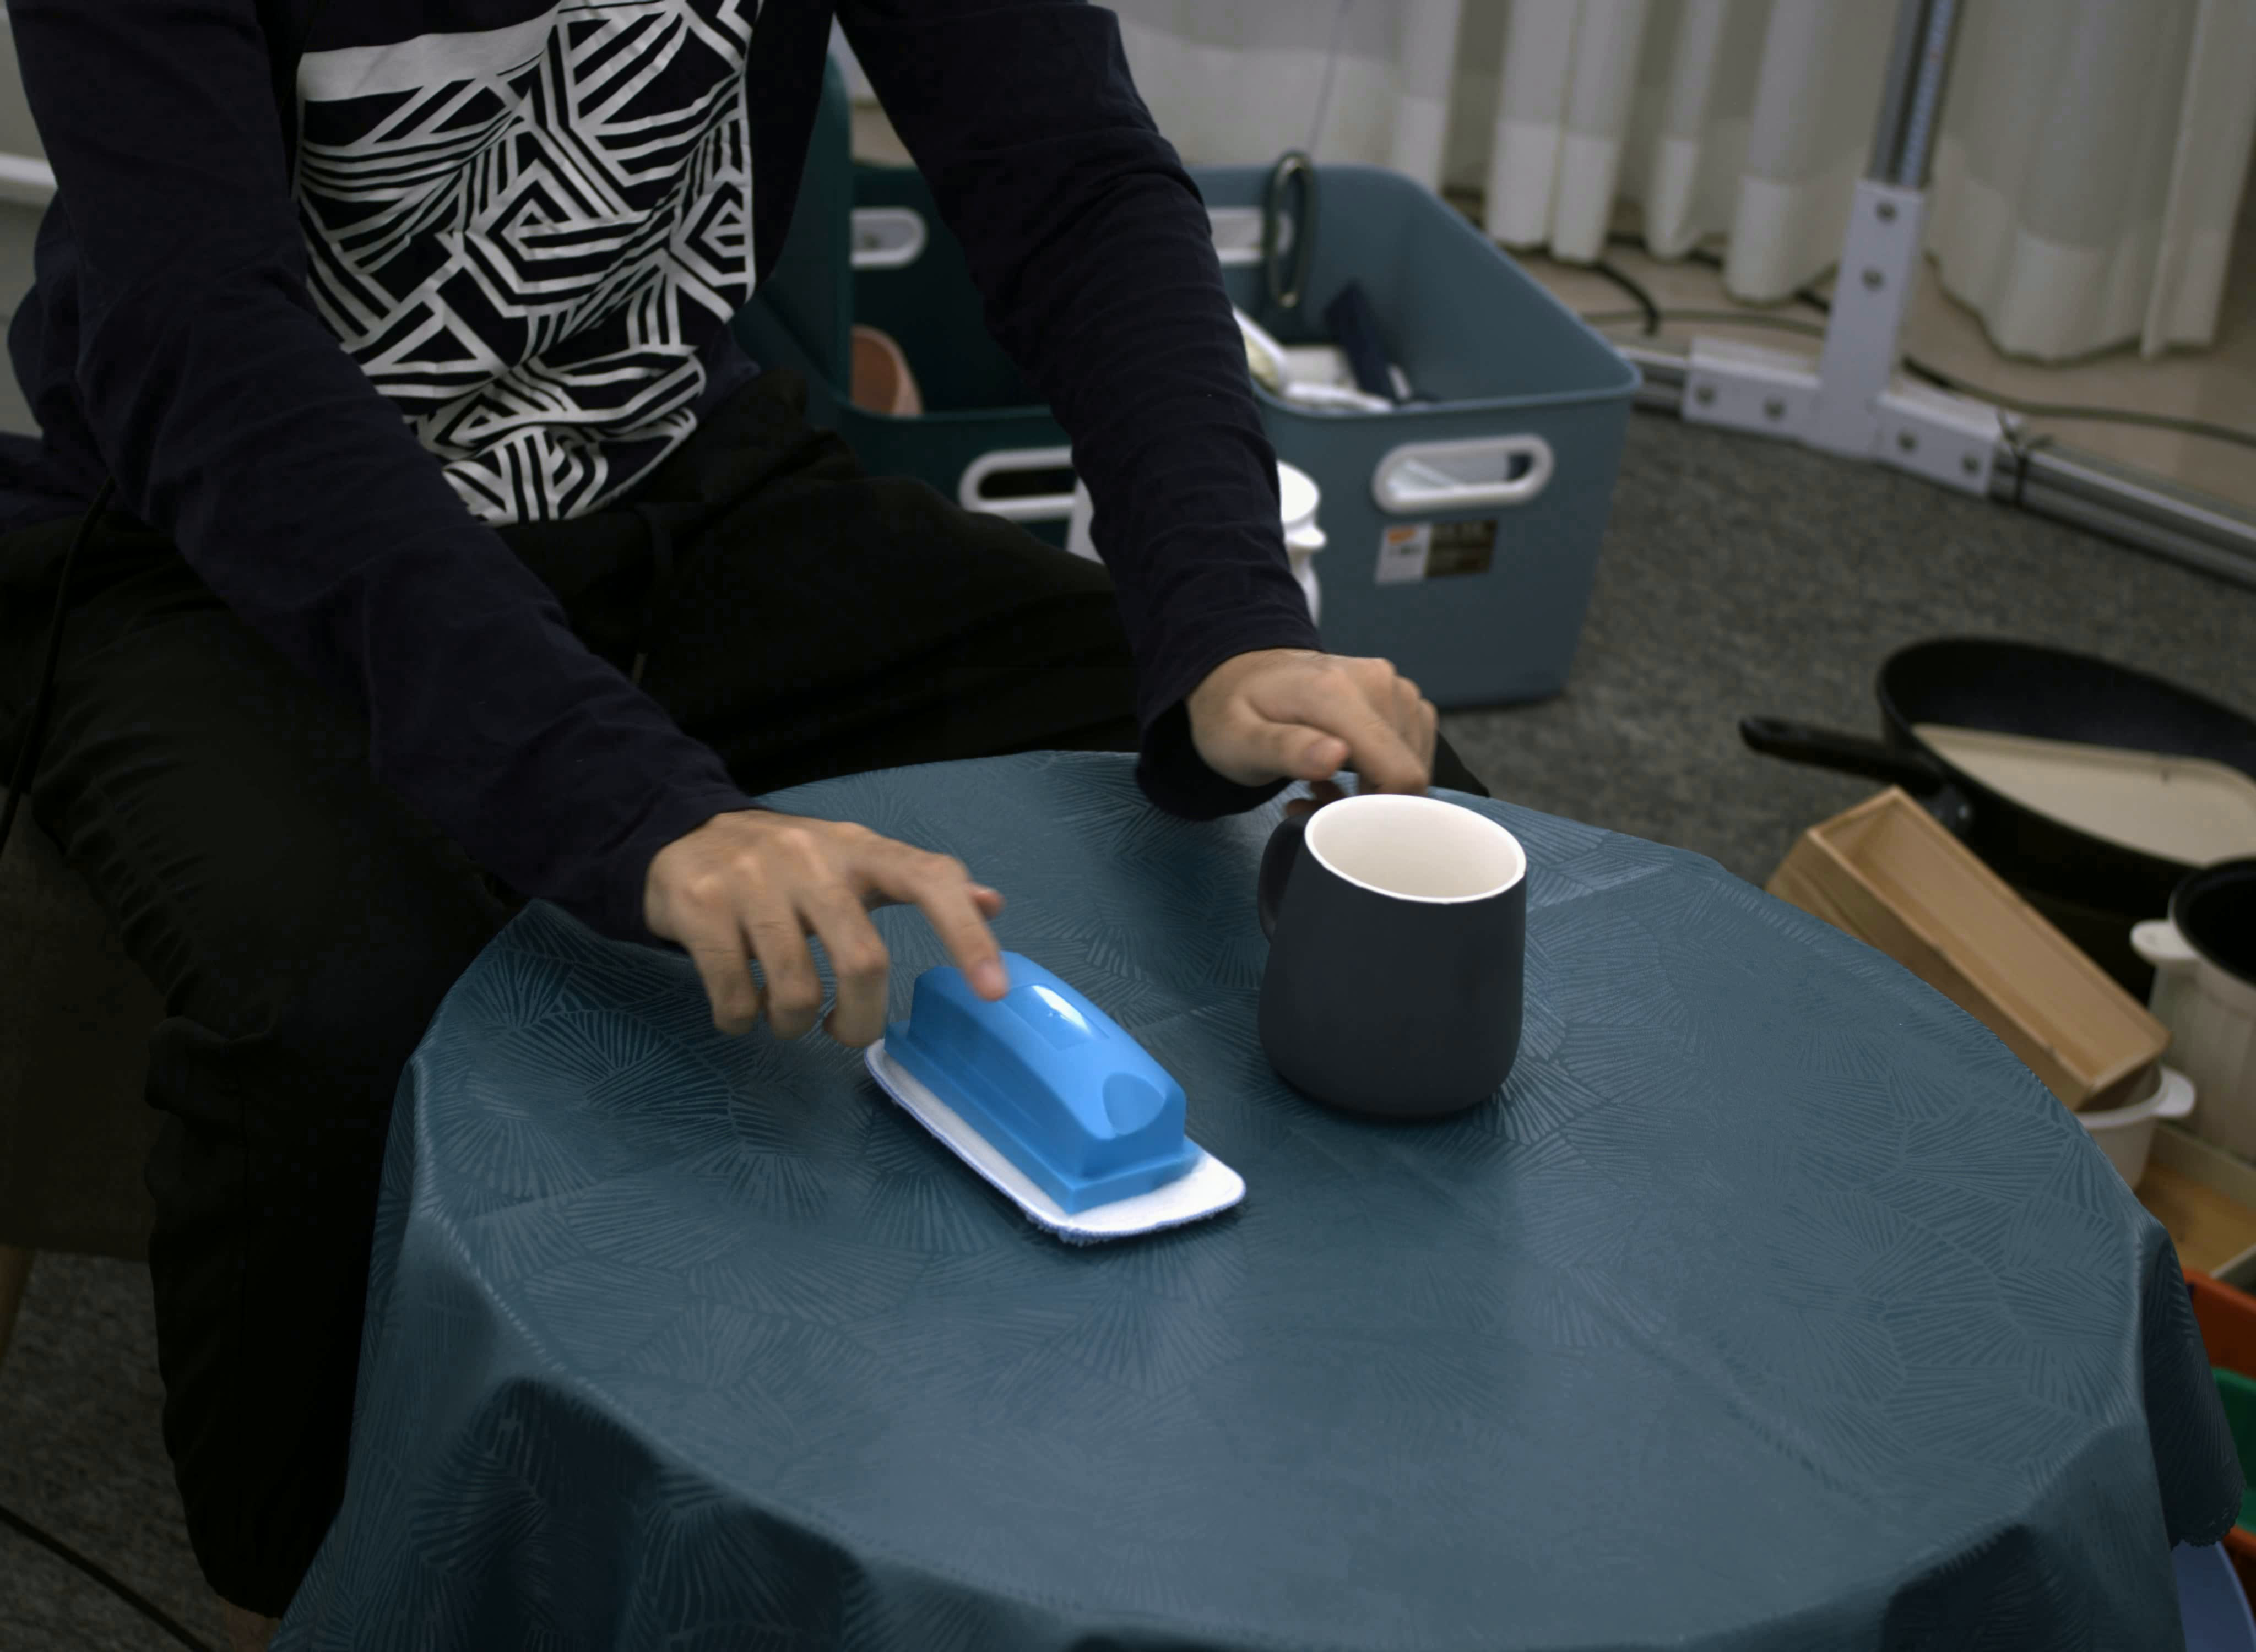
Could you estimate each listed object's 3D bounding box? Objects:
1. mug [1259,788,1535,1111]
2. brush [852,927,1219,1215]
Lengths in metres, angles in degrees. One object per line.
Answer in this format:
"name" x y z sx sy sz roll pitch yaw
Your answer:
"mug" 0.089 0.037 1.890 0.093 0.089 0.124 -9 33 -32
"brush" -0.029 0.079 1.820 0.083 0.056 0.145 -7 33 -32
